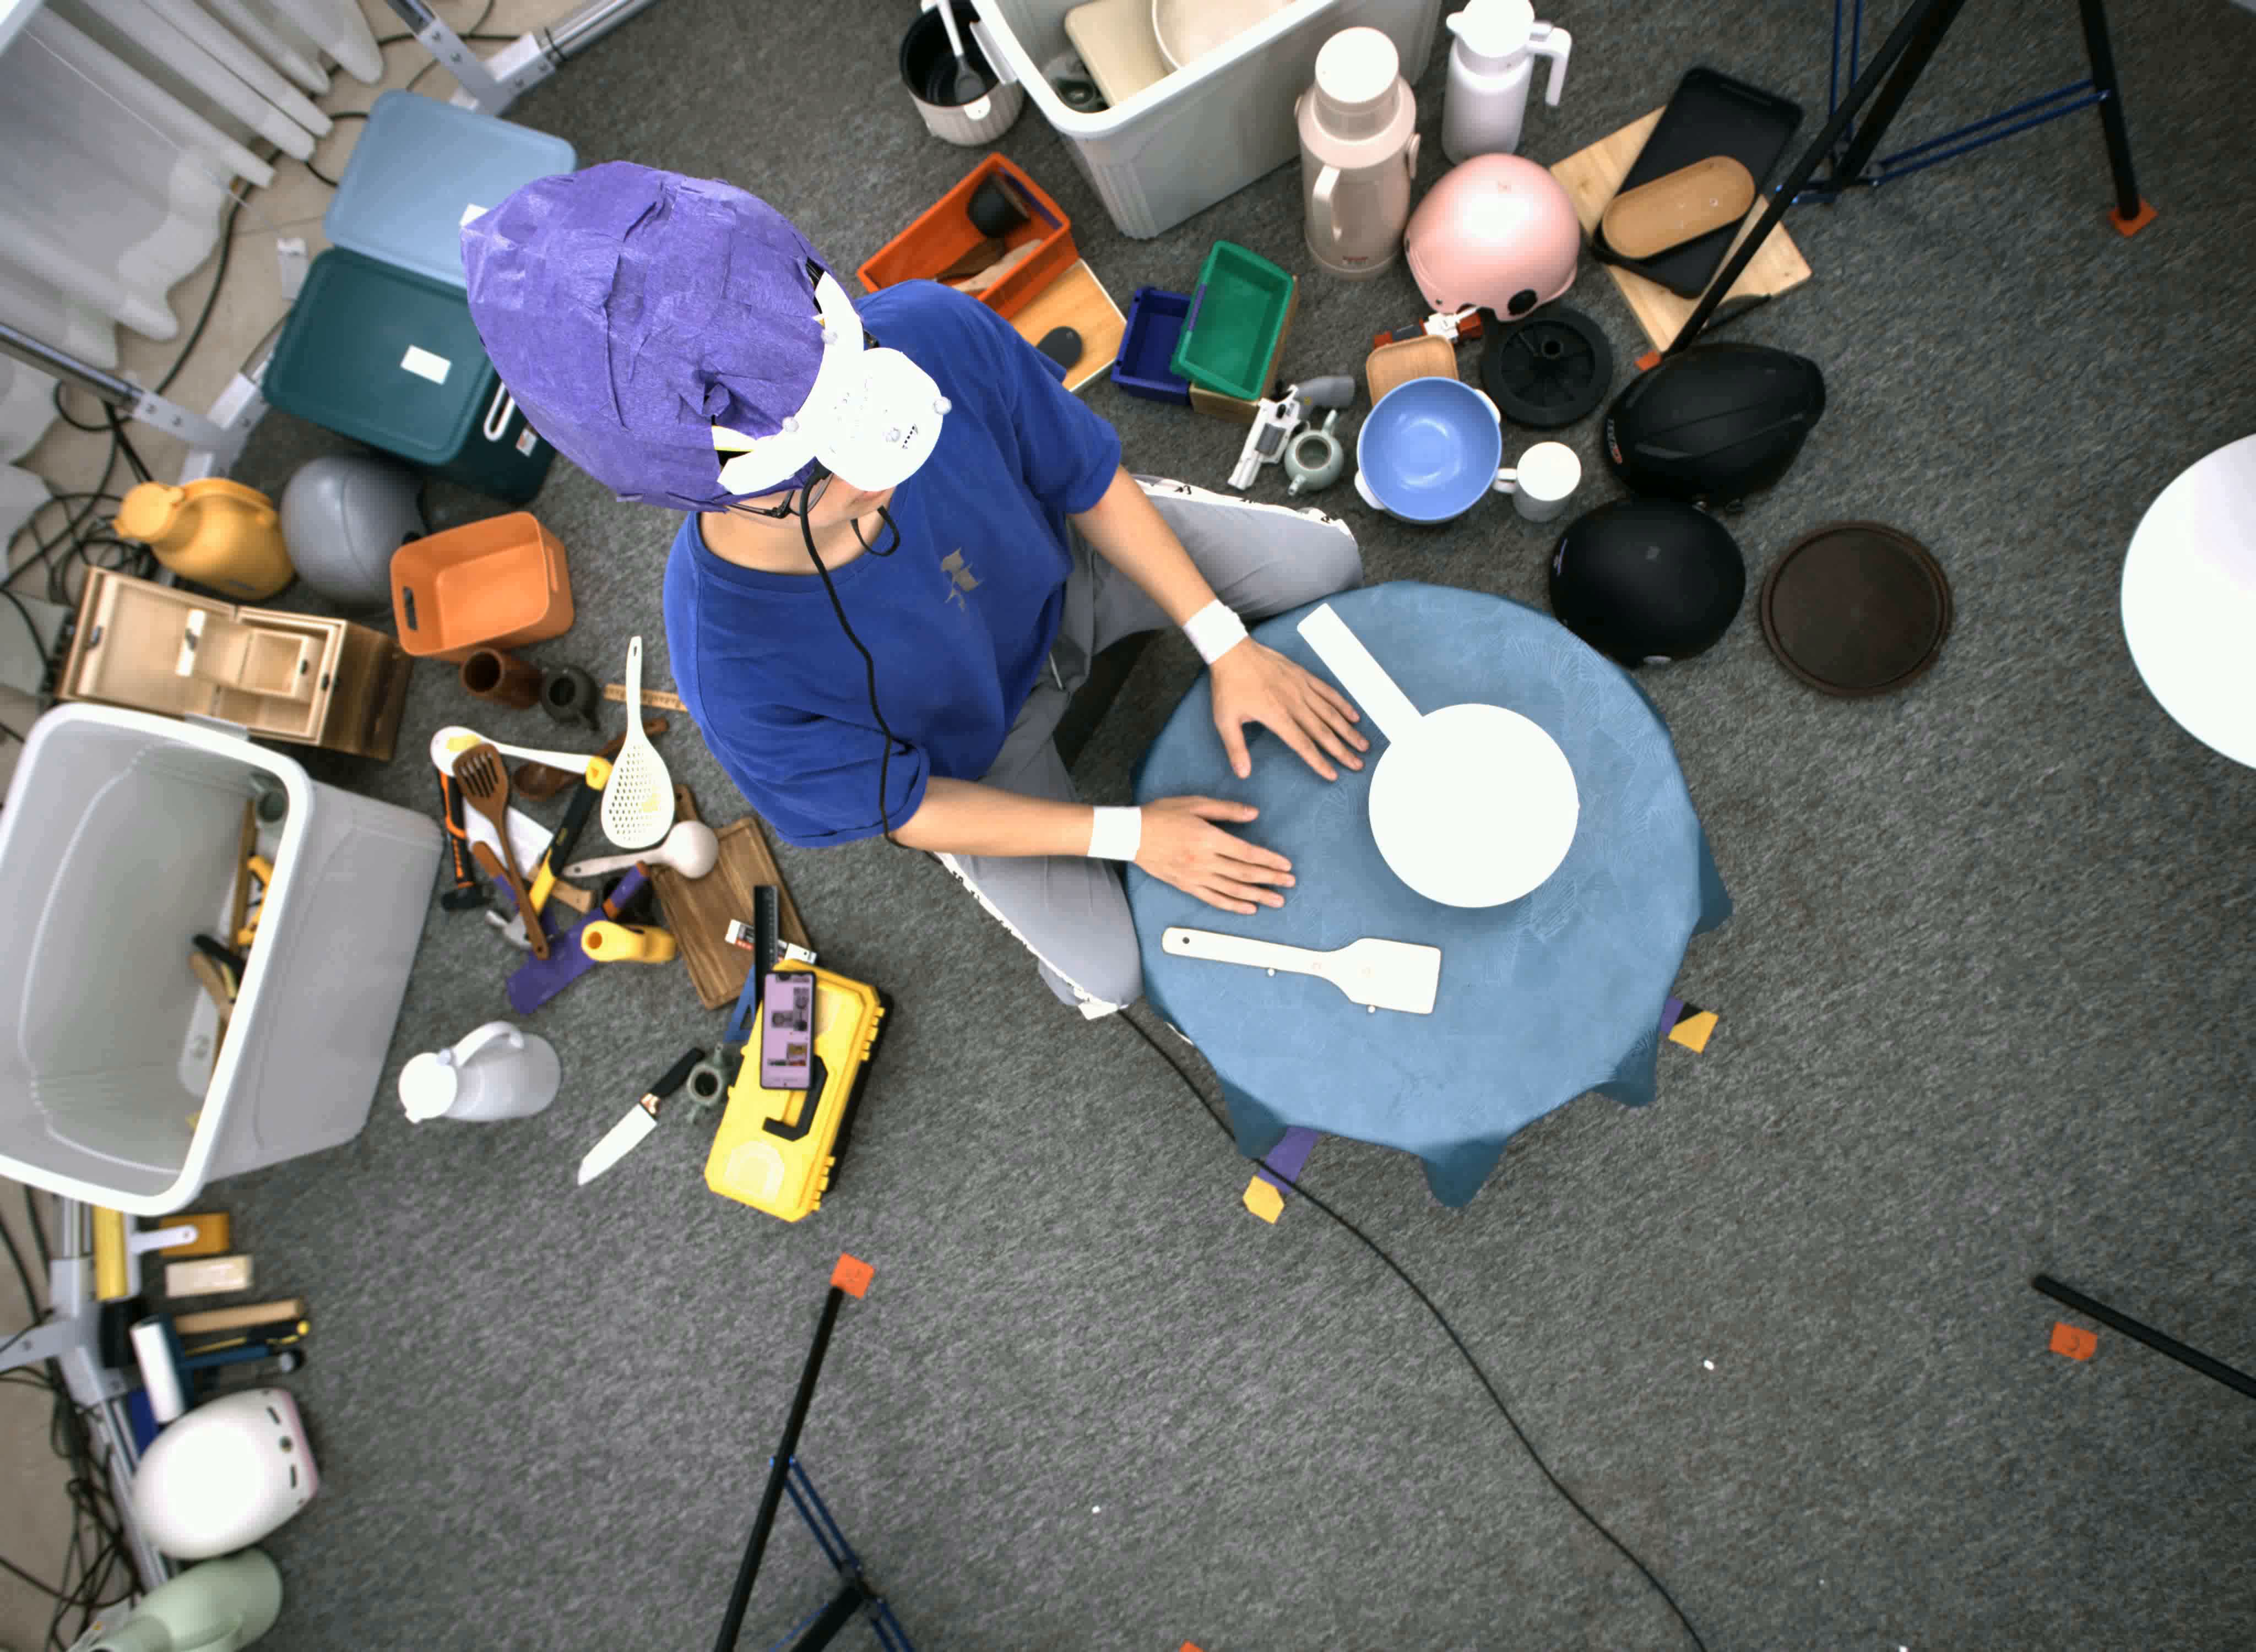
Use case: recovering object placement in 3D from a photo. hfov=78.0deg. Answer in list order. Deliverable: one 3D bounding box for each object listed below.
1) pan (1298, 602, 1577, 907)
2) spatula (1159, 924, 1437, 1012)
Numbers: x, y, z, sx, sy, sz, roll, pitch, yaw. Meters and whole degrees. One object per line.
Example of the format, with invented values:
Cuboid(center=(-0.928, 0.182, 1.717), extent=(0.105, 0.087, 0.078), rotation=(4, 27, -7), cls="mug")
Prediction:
Cuboid(center=(0.301, -0.078, 1.411), extent=(0.202, 0.102, 0.353), rotation=(-40, 81, 8), cls="pan")
Cuboid(center=(0.176, 0.140, 1.468), extent=(0.294, 0.010, 0.072), rotation=(8, 90, 11), cls="spatula")
